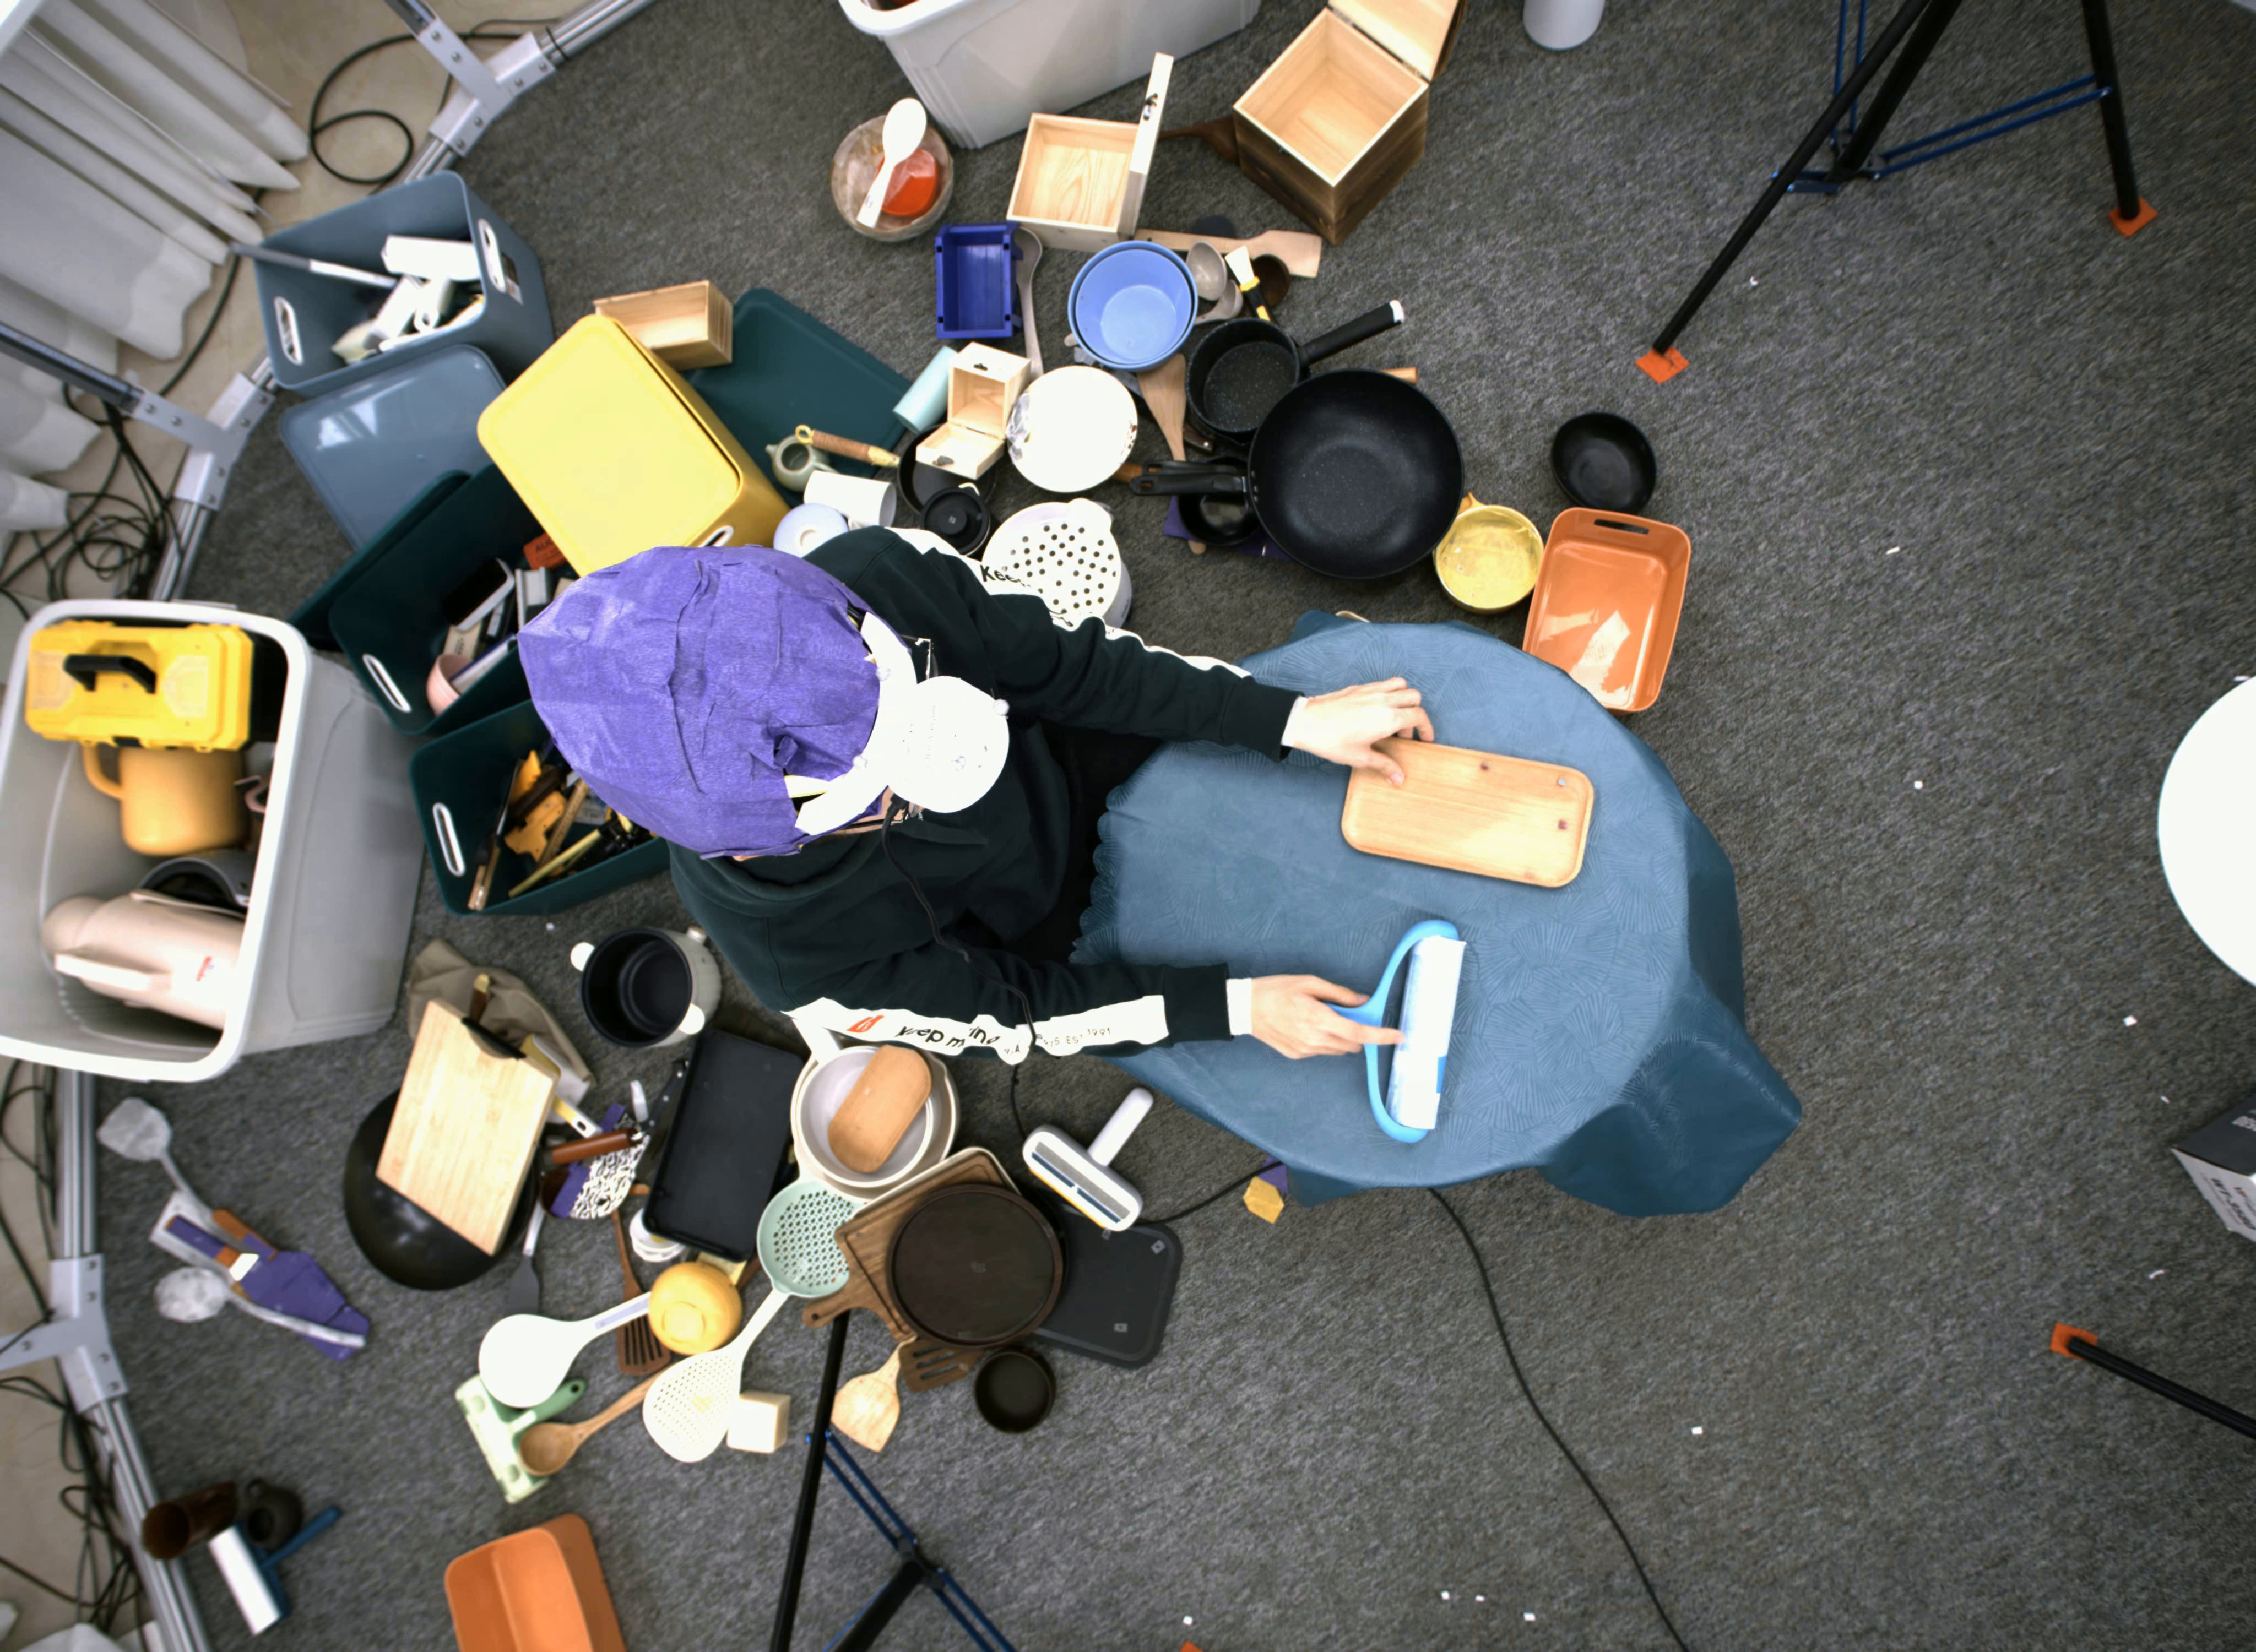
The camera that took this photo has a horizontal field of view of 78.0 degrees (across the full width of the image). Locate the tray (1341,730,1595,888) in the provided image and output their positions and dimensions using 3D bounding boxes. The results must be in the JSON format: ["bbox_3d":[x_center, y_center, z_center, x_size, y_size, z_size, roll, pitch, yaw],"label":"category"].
[{"bbox_3d":[0.353,-0.020,1.436,0.251,0.023,0.130,12,87,11],"label":"tray"}]

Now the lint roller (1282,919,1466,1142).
[{"bbox_3d":[0.247,0.201,1.424,0.181,0.068,0.228,6,90,9],"label":"lint roller"}]
